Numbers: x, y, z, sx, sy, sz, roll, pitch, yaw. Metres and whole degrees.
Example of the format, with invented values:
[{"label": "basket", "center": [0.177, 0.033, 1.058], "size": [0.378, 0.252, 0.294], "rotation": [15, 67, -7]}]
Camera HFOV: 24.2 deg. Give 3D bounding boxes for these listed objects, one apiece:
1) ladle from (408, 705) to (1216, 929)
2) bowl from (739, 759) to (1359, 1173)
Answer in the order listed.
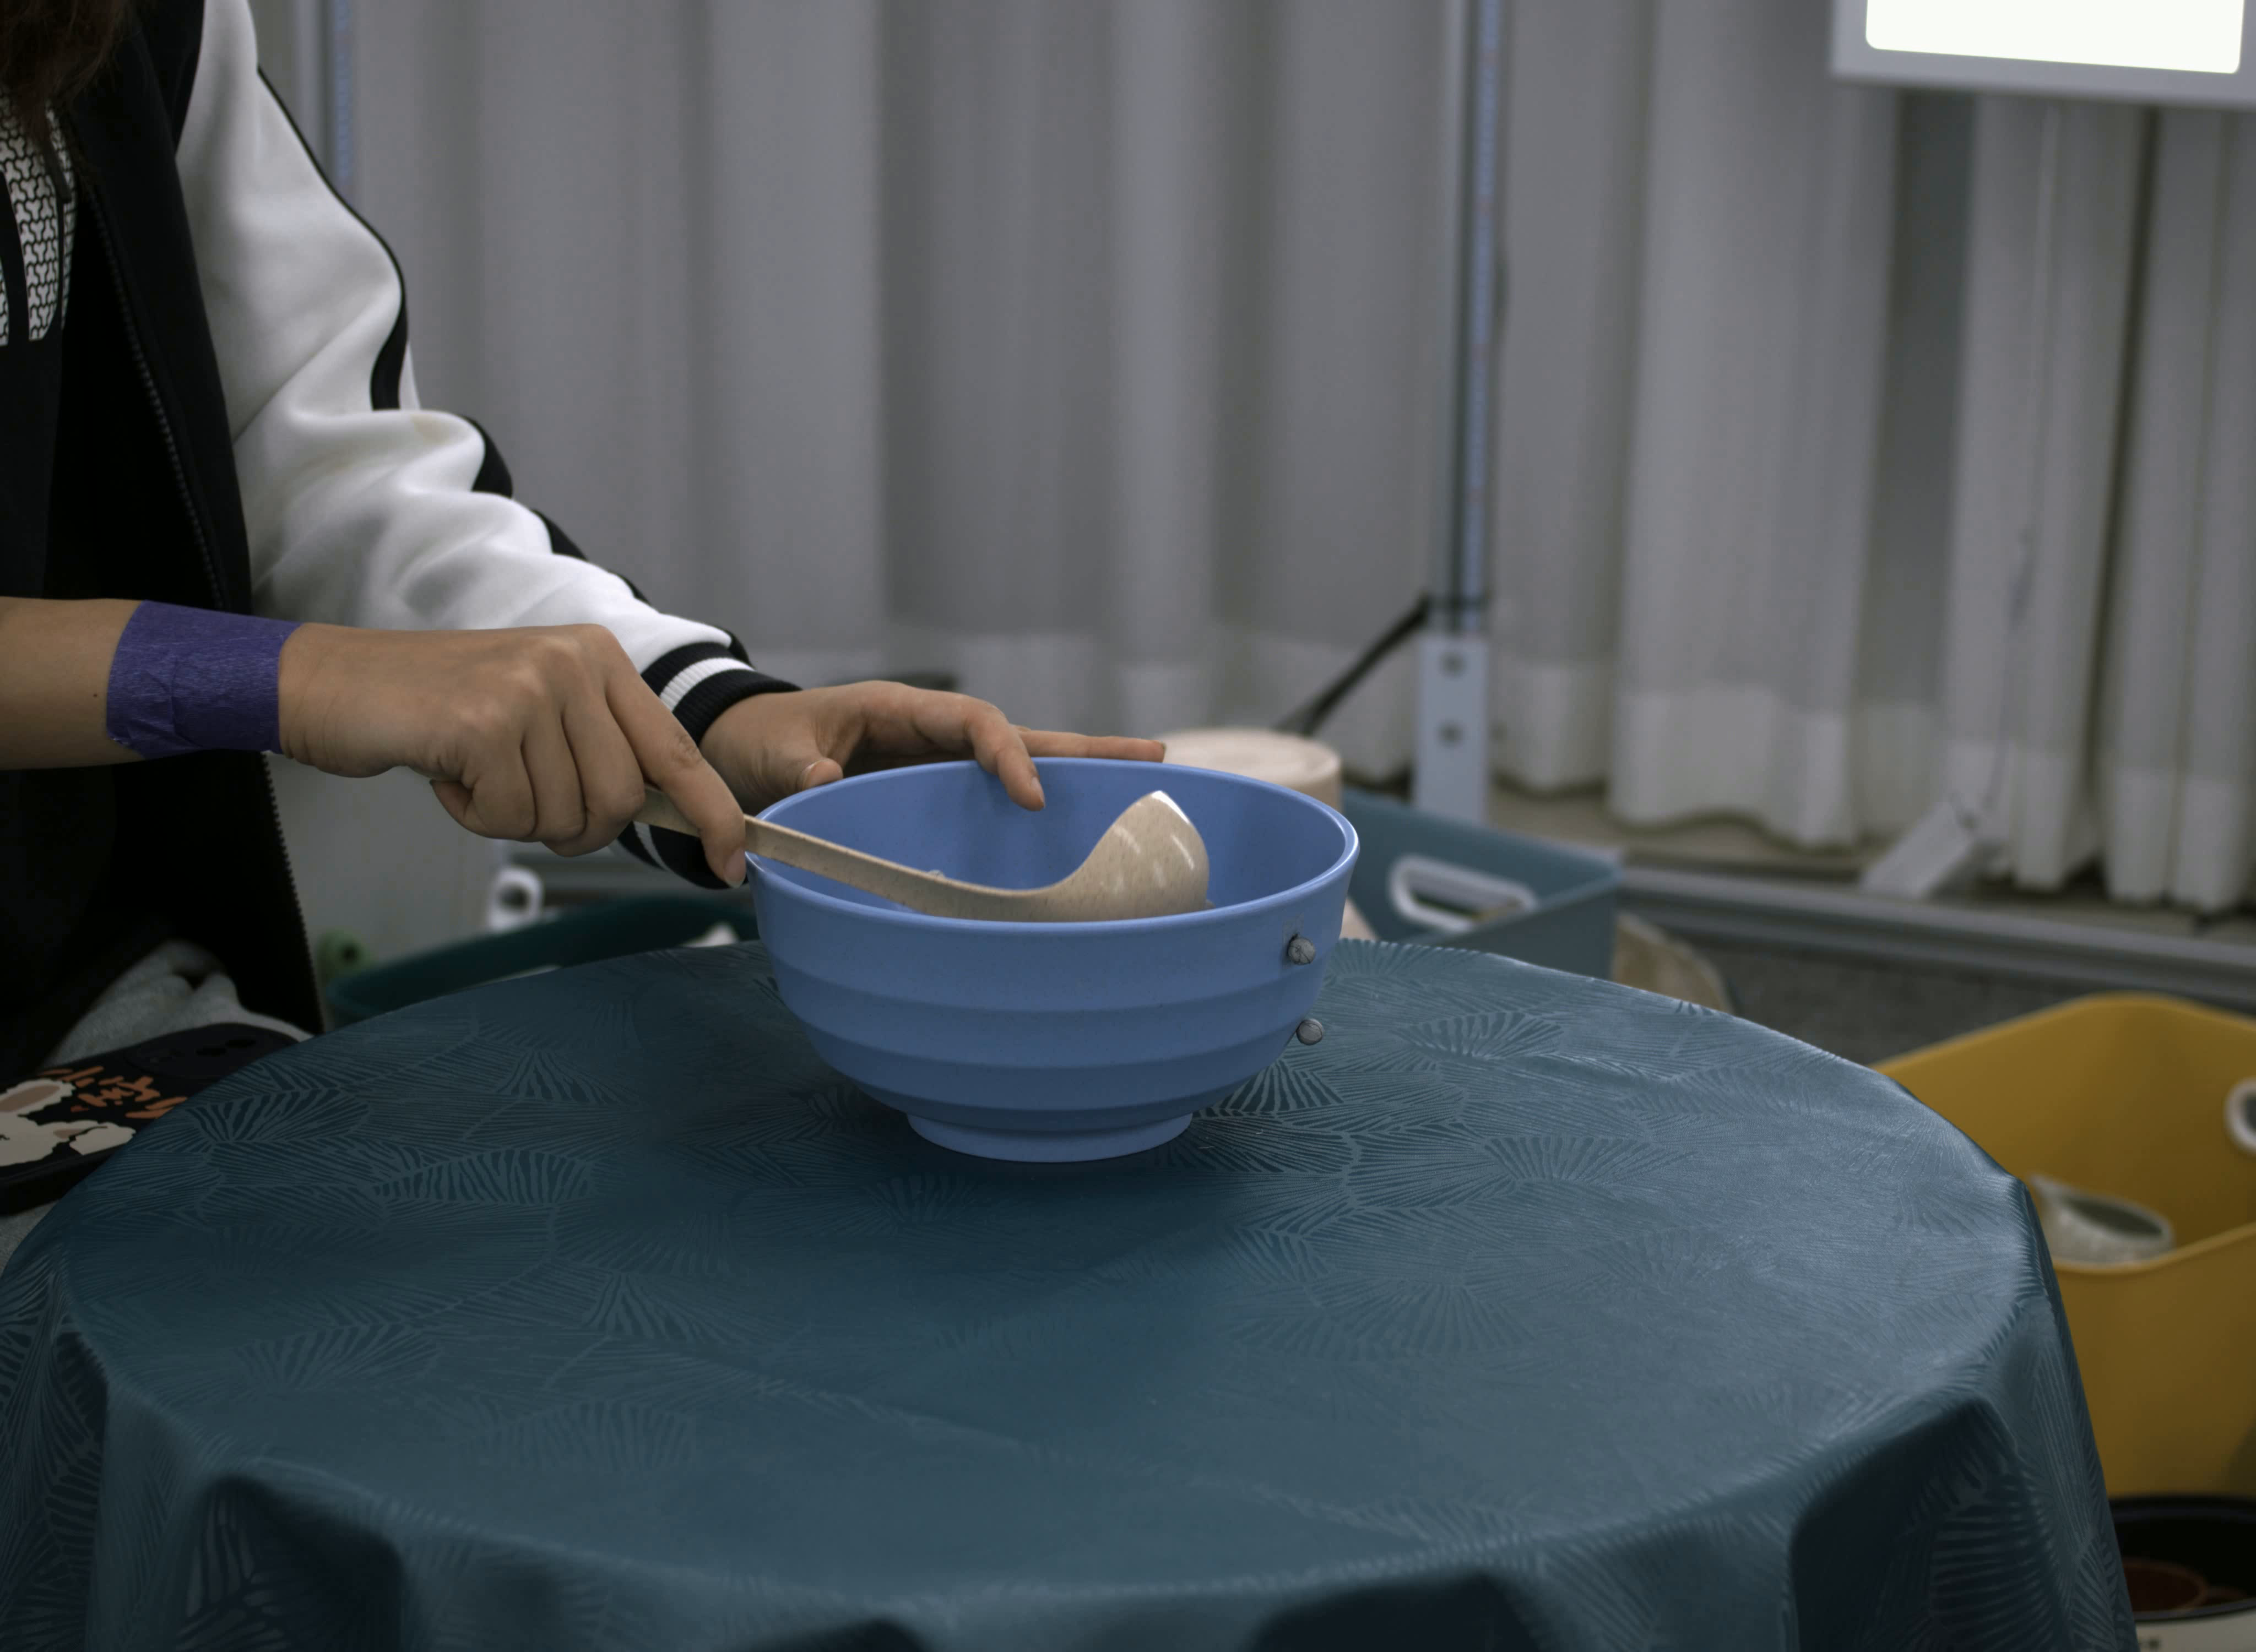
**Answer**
[{"label": "ladle", "center": [-0.096, -0.012, 1.643], "size": [0.255, 0.072, 0.072], "rotation": [19, 37, -9]}, {"label": "bowl", "center": [-0.024, 0.051, 1.676], "size": [0.196, 0.096, 0.195], "rotation": [-1, 17, 1]}]
